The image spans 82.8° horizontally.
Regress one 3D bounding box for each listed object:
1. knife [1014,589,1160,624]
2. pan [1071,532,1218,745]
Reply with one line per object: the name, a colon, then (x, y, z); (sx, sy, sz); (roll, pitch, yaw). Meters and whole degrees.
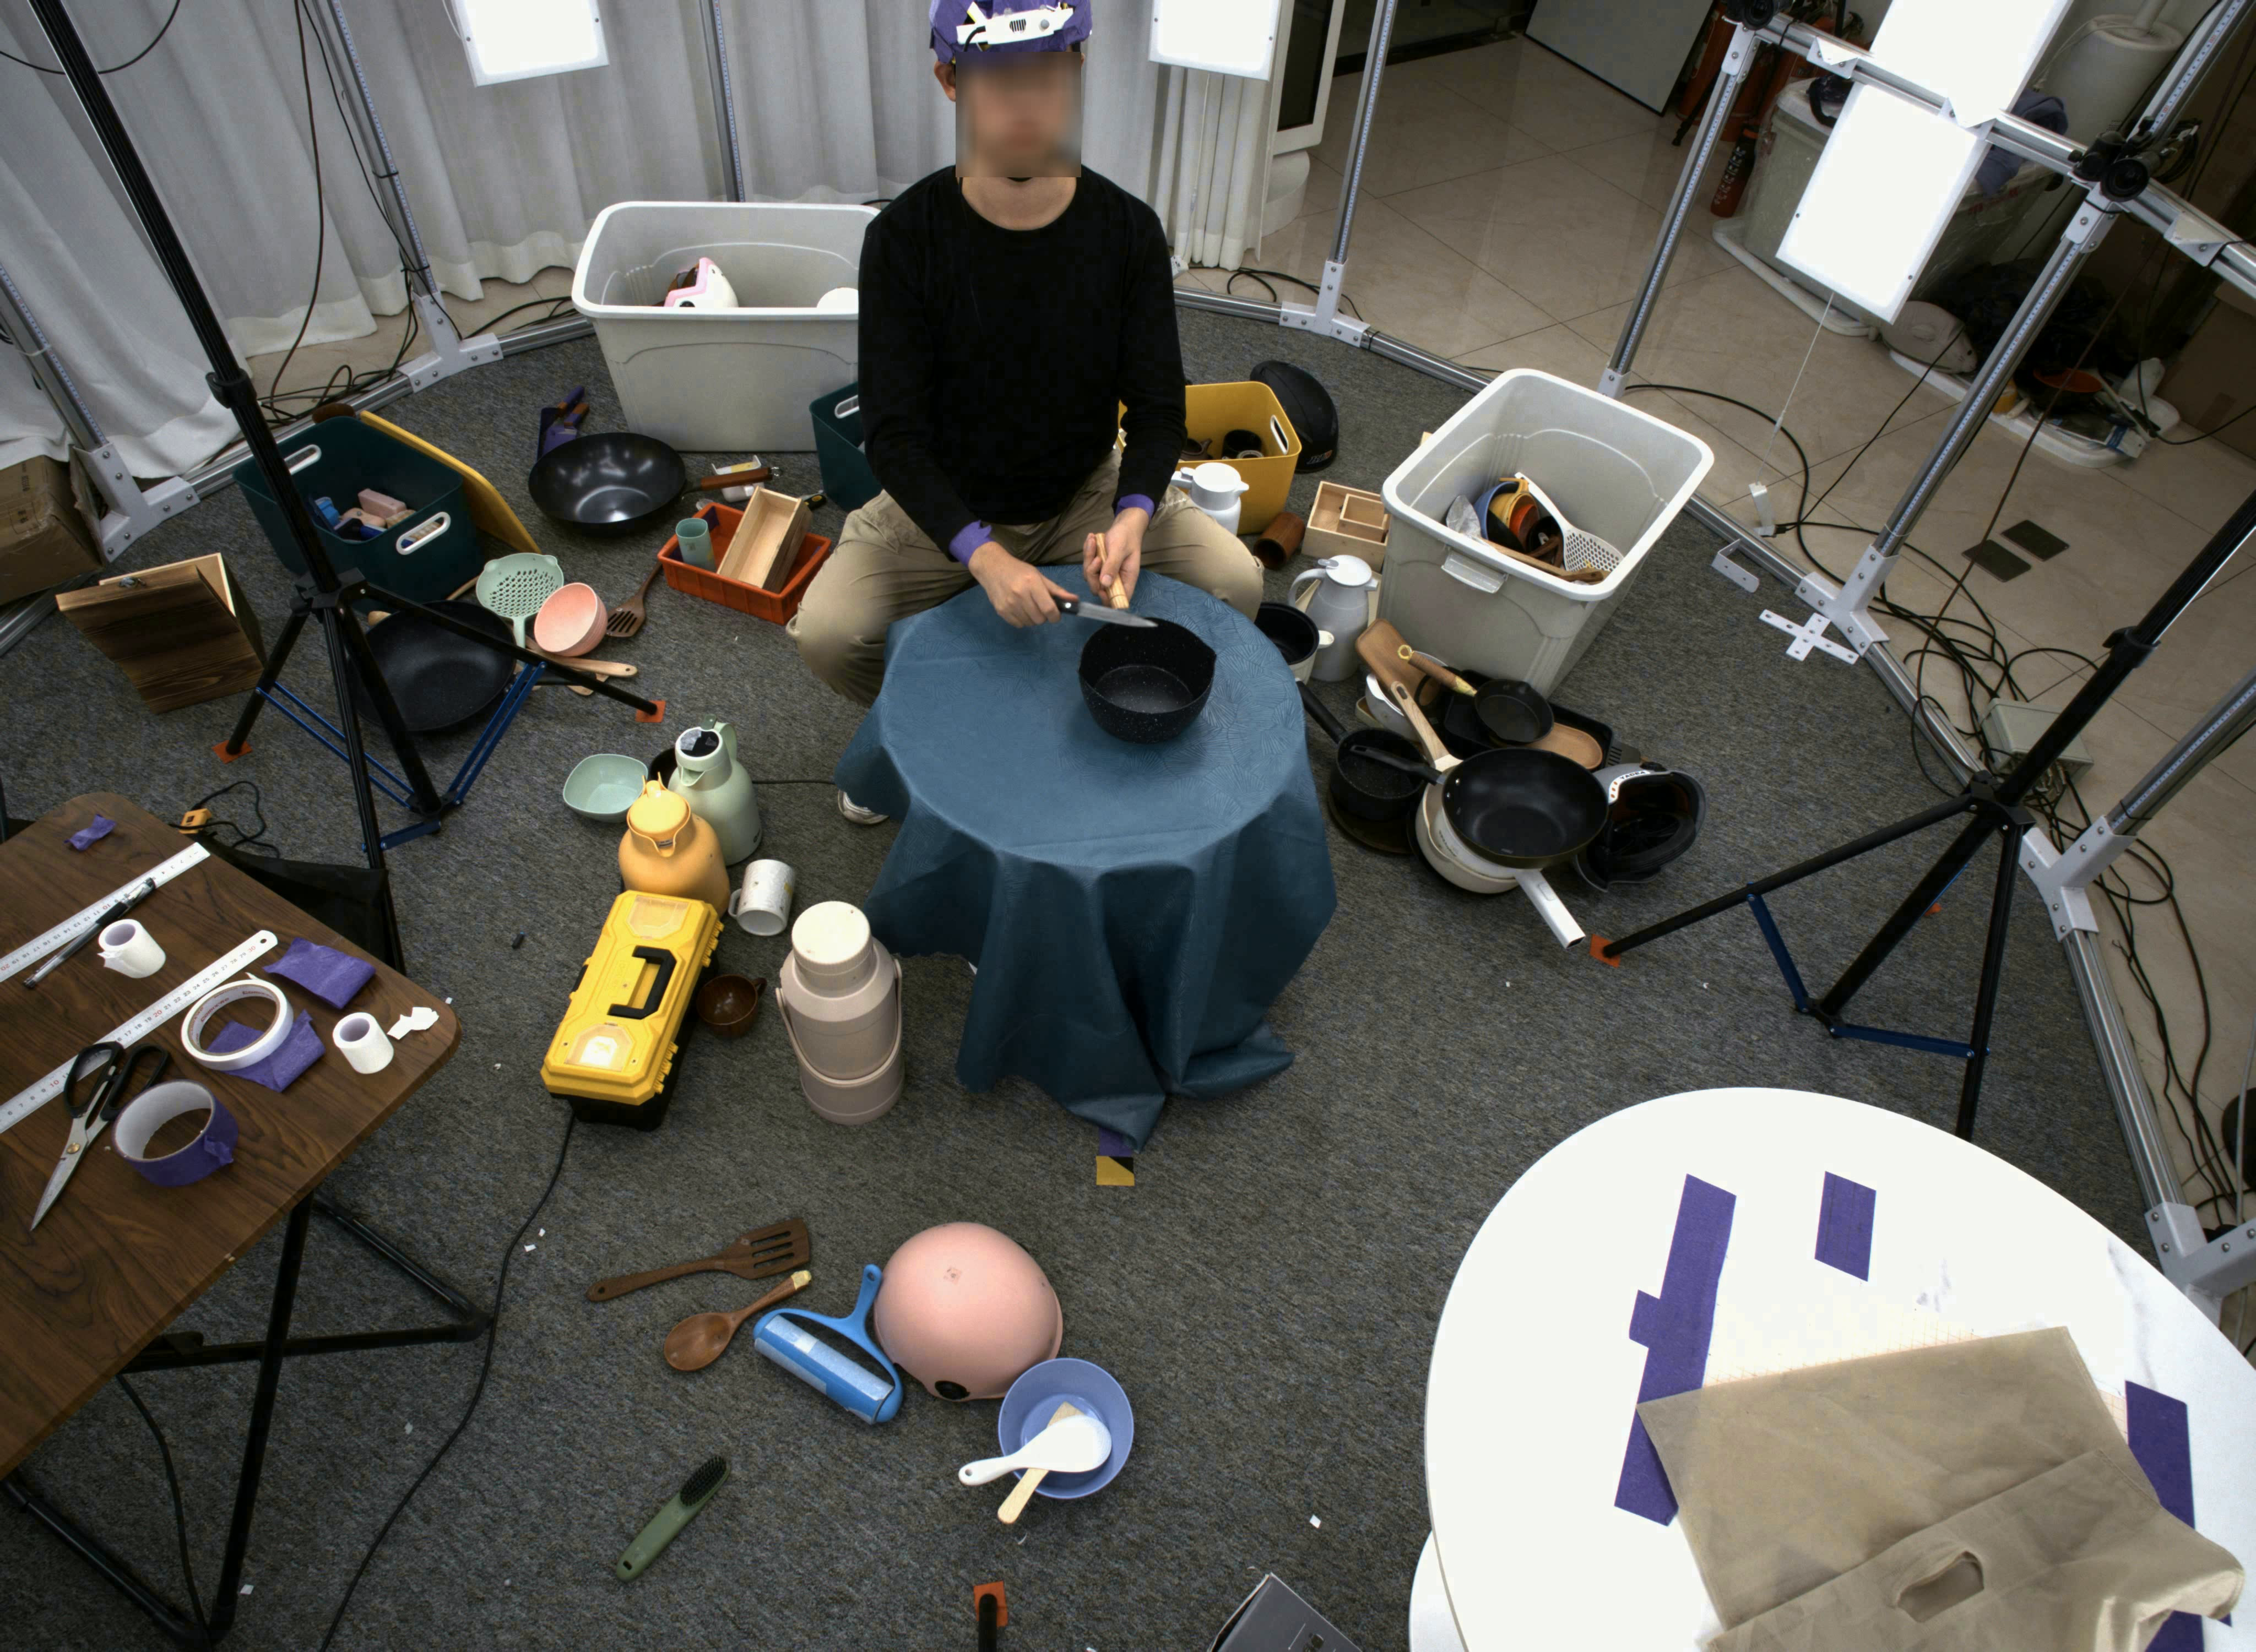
knife: (-0.062, -0.305, 1.807); (0.240, 0.016, 0.025); (15, 67, 26)
pan: (0.000, -0.265, 1.822); (0.207, 0.106, 0.351); (-11, 55, -13)
